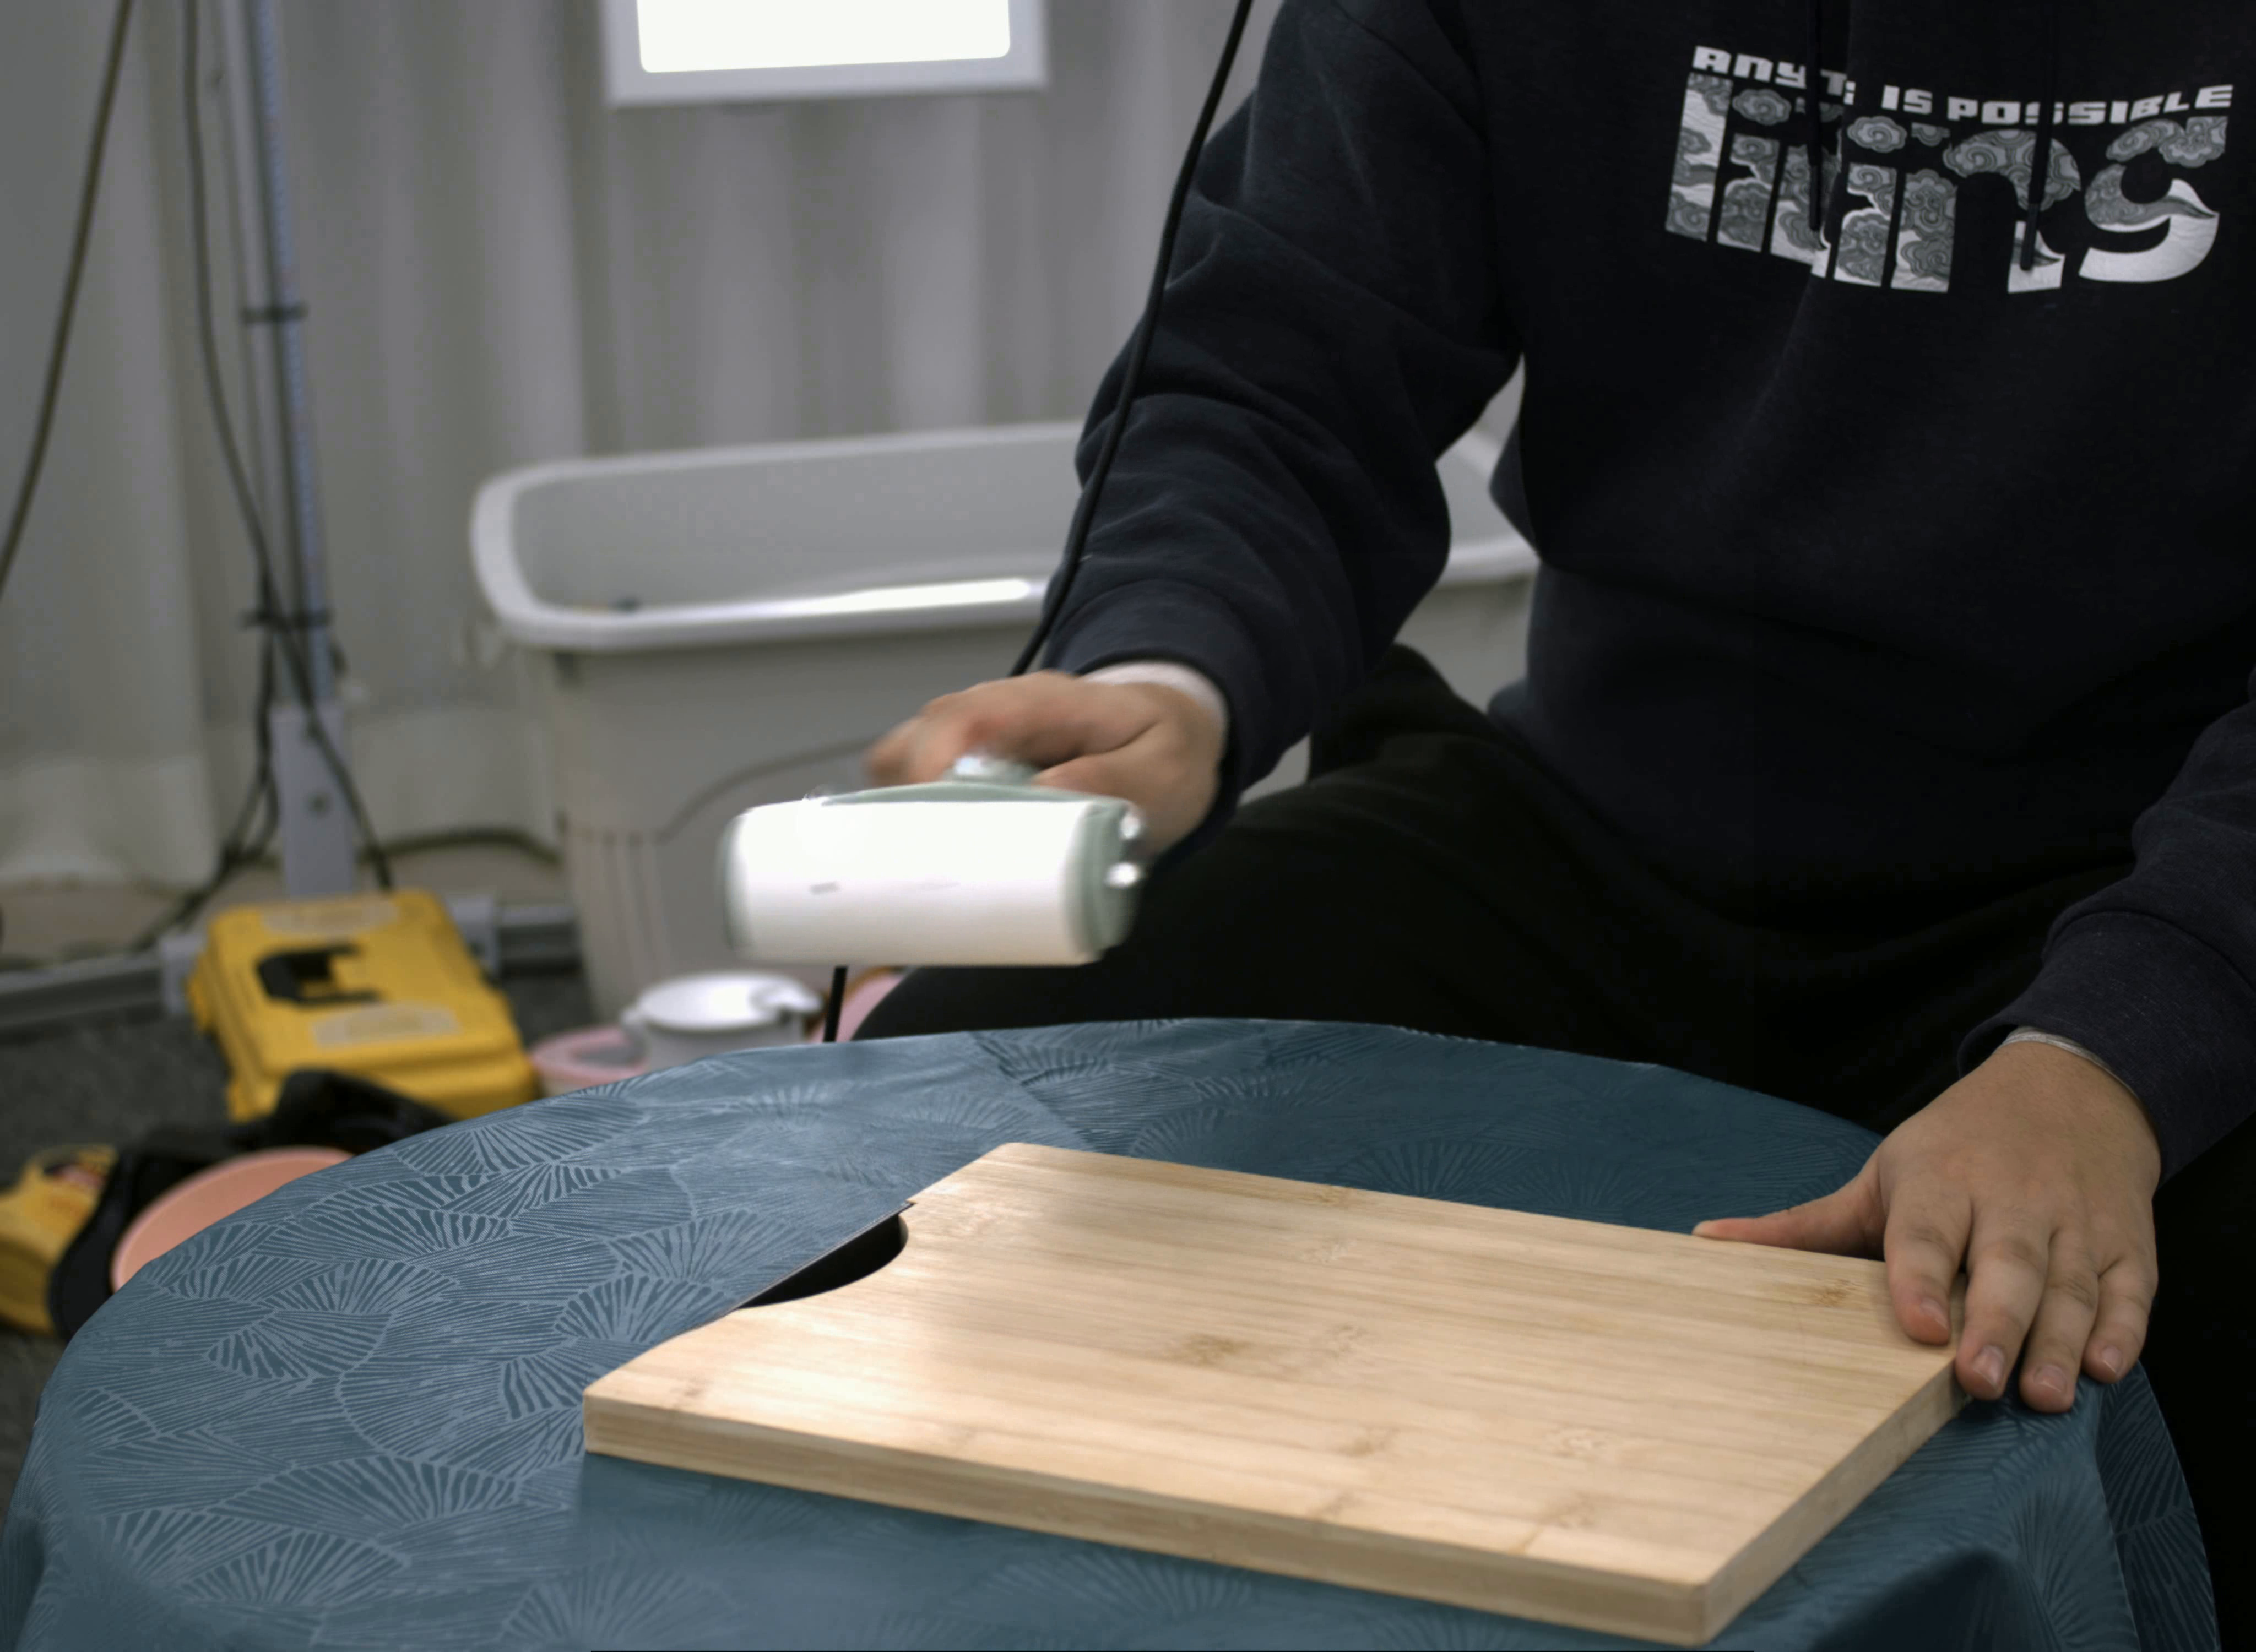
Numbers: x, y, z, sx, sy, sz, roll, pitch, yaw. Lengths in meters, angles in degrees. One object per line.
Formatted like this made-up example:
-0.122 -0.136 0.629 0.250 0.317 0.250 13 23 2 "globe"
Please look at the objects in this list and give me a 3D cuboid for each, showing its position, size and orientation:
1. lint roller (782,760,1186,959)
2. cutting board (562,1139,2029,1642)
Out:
-0.030 0.004 1.655 0.116 0.048 0.198 -3 7 11 "lint roller"
0.049 0.152 1.539 0.349 0.023 0.251 6 16 28 "cutting board"
